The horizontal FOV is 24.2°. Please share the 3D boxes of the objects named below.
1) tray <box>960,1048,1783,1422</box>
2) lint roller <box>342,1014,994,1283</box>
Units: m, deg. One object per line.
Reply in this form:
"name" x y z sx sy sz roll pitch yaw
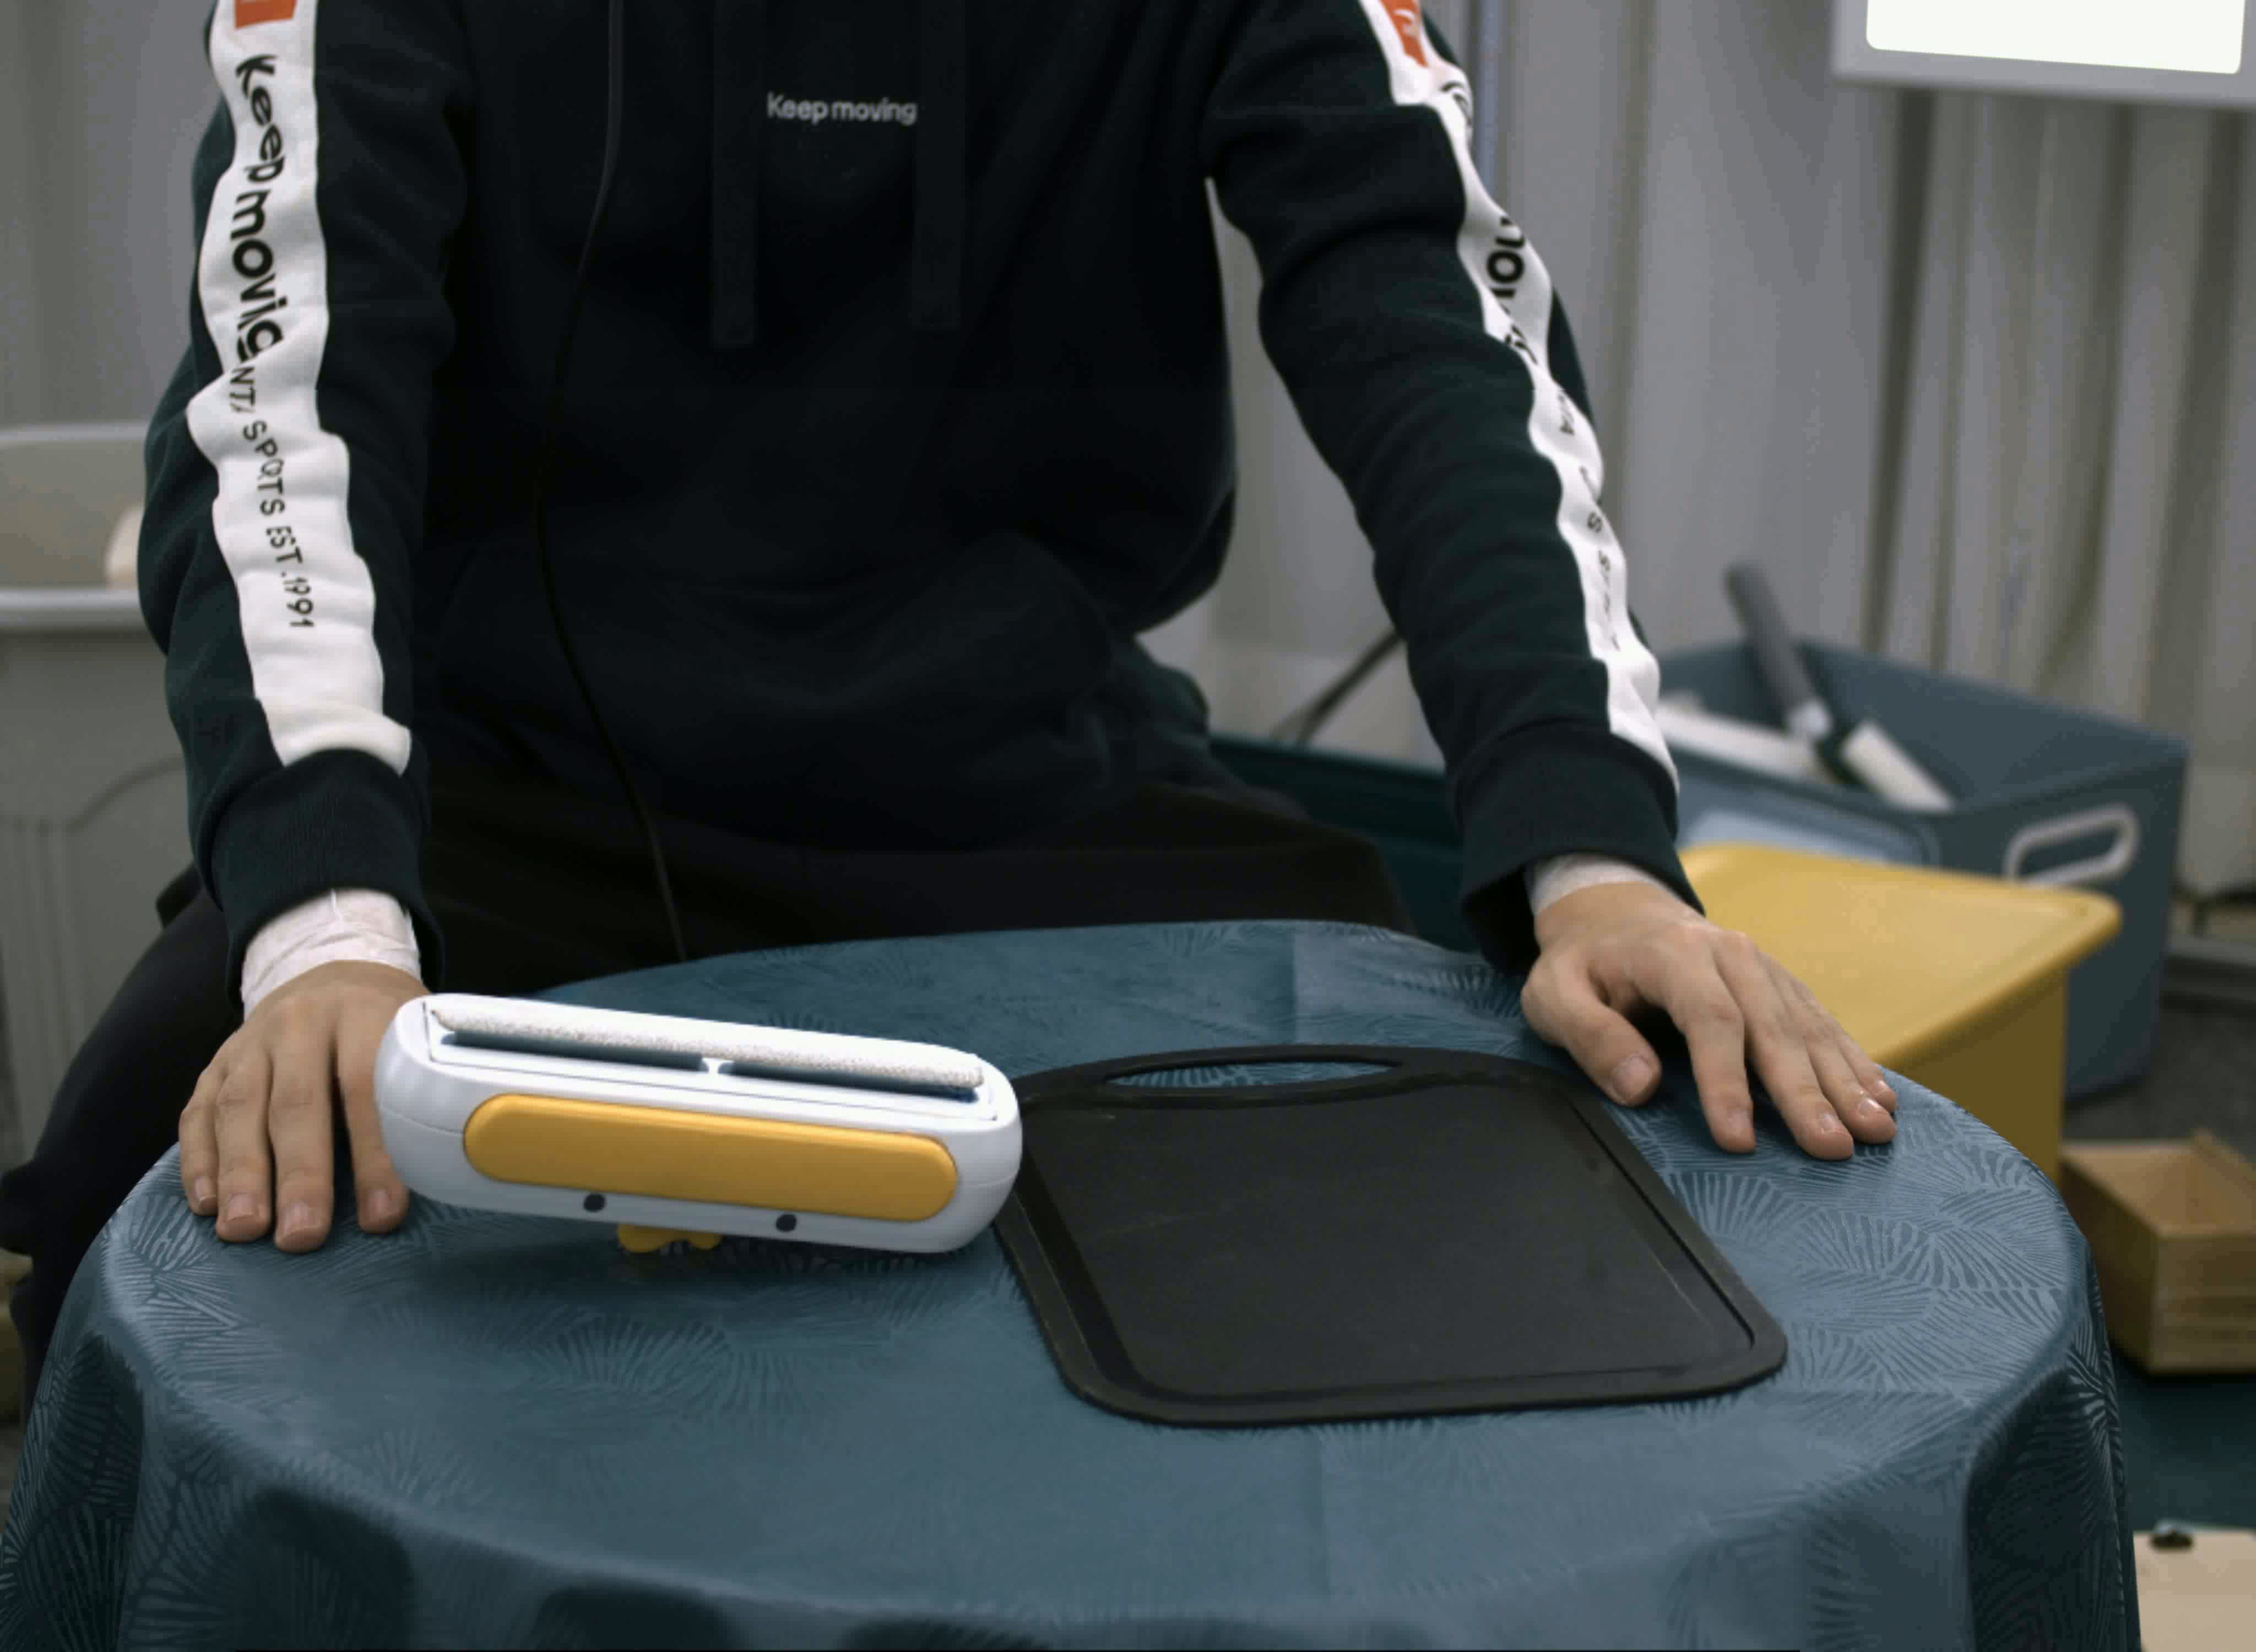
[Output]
"tray" 0.063 0.116 1.595 0.211 0.010 0.322 -2 16 -10
"lint roller" -0.143 0.099 1.607 0.193 0.074 0.192 5 0 -8
